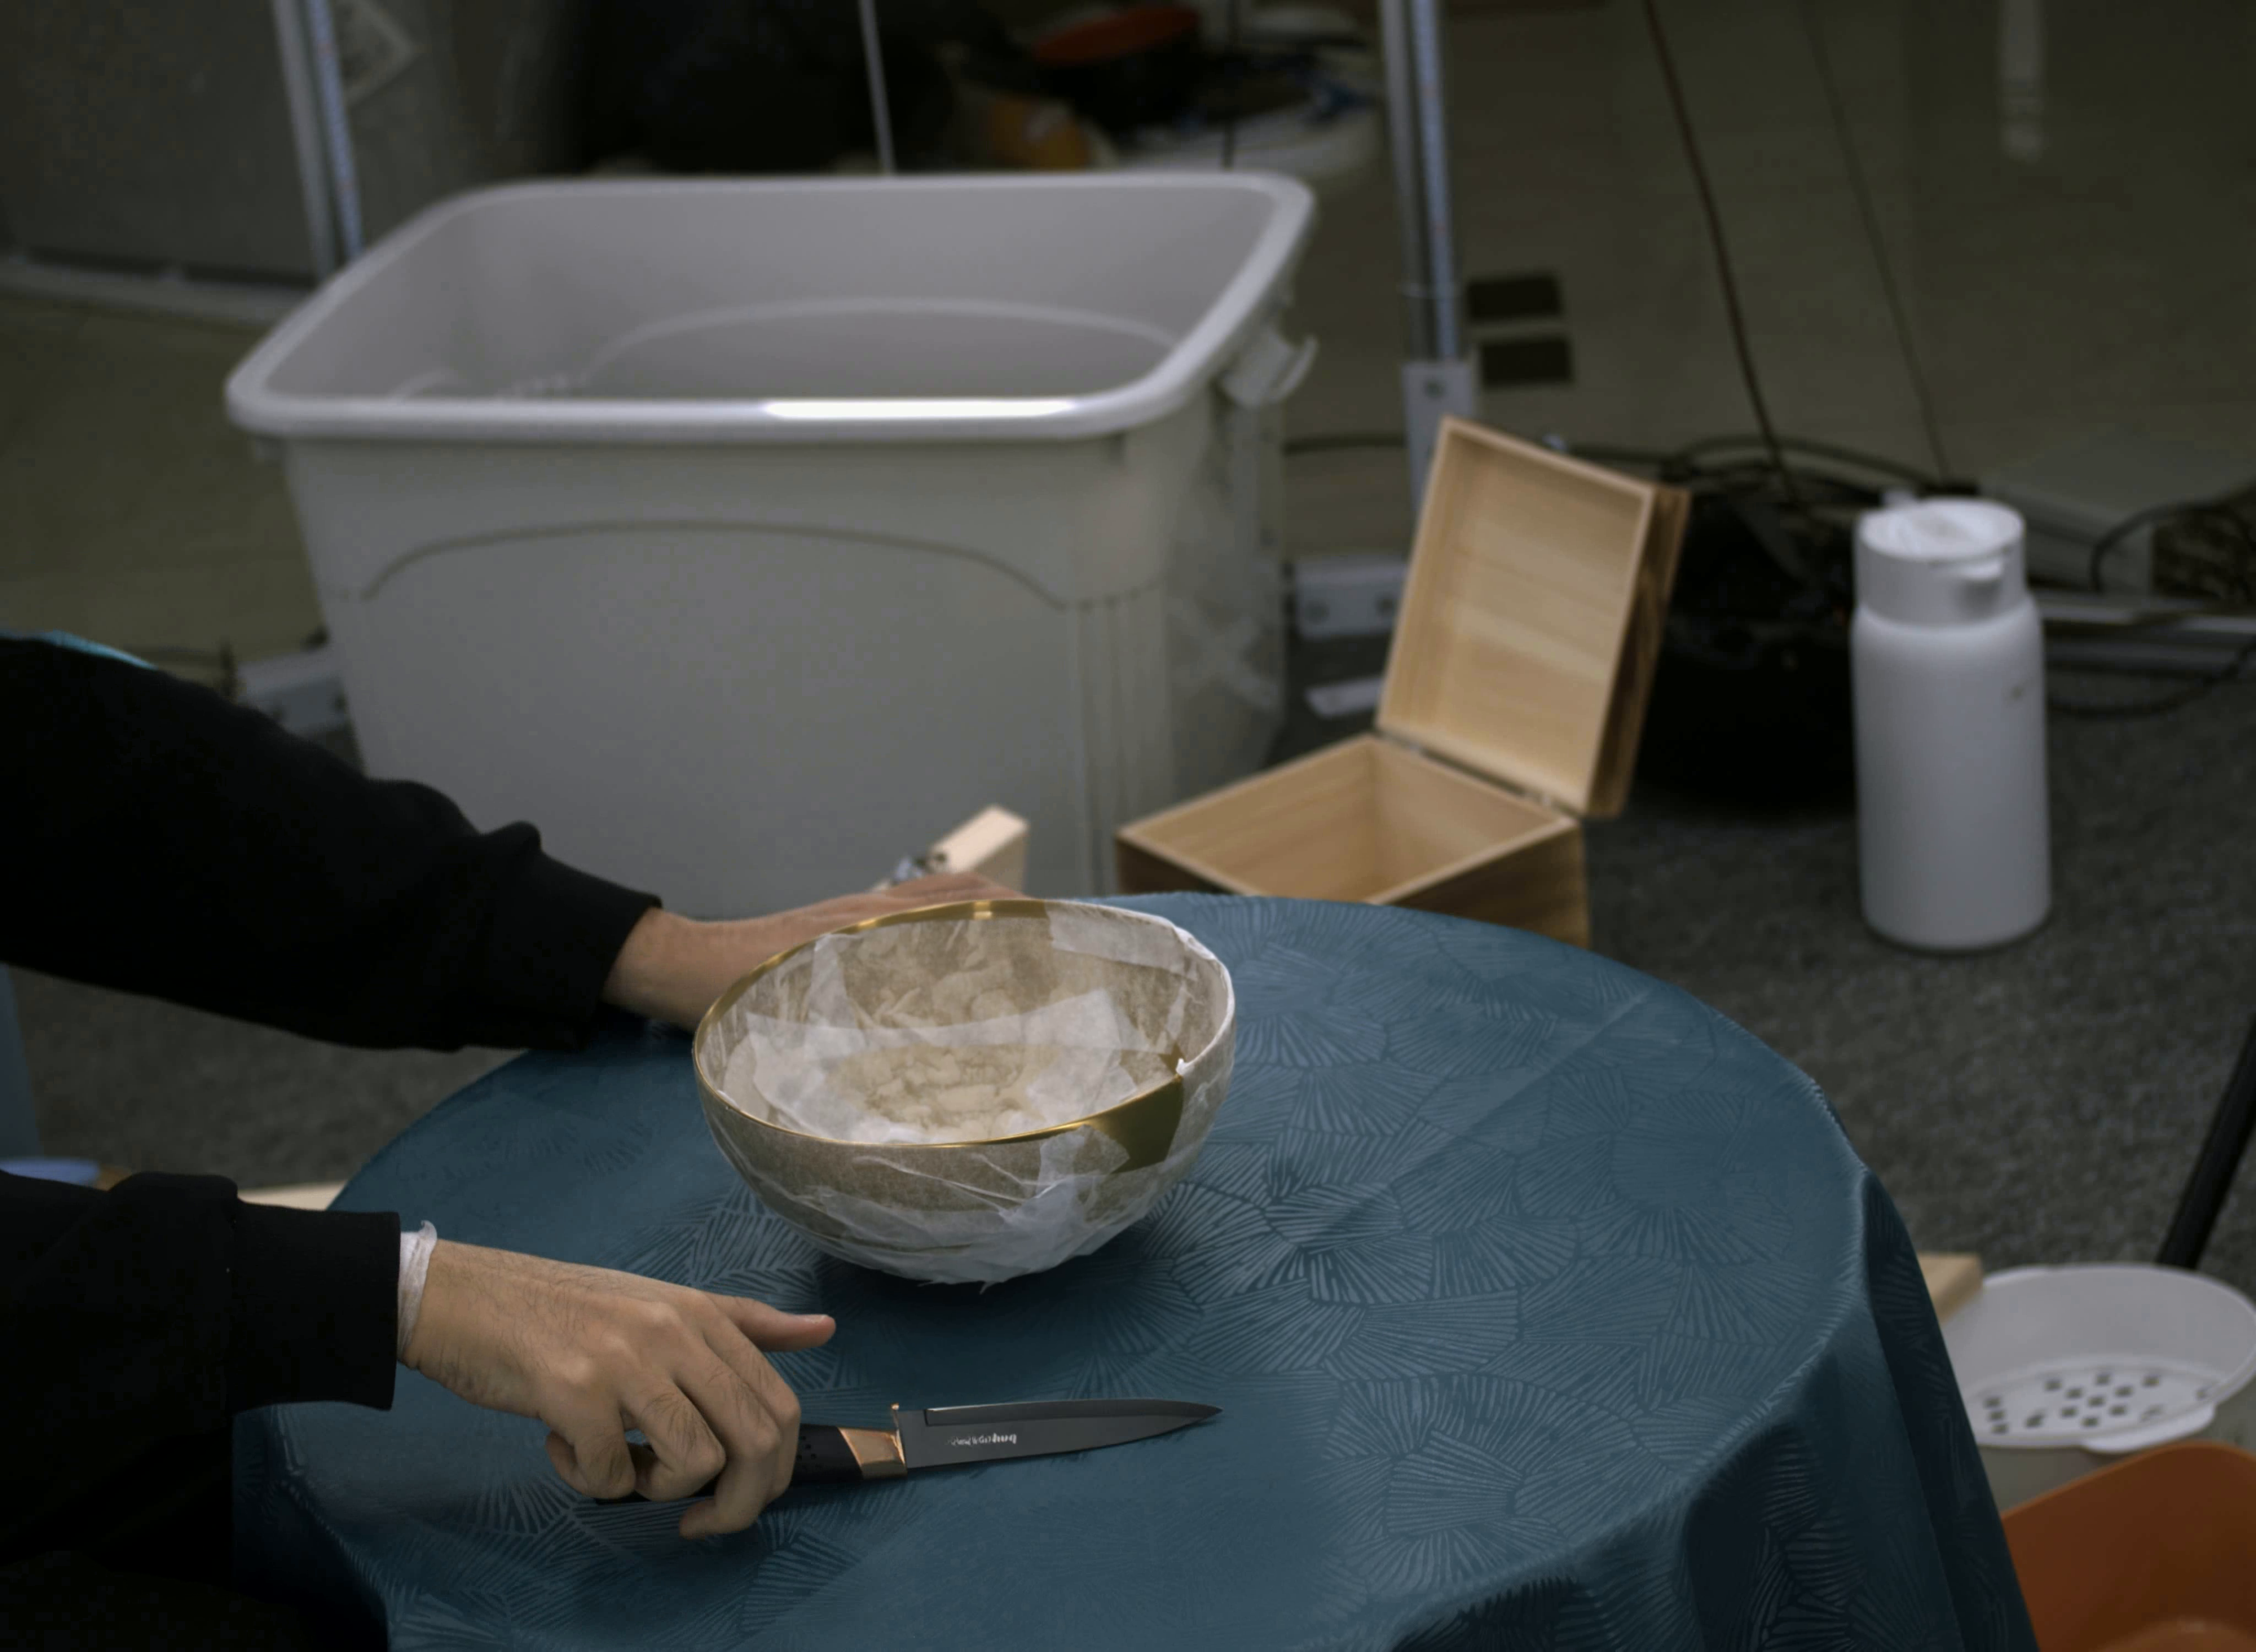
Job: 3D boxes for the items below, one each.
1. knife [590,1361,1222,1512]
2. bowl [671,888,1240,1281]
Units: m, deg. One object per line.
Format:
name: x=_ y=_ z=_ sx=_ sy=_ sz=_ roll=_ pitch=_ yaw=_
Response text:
knife: x=-0.077 y=0.213 z=1.981 sx=0.225 sy=0.017 sz=0.026 roll=-9 pitch=65 yaw=-4
bowl: x=-0.060 y=0.109 z=2.112 sx=0.214 sy=0.096 sz=0.211 roll=-5 pitch=27 yaw=3
